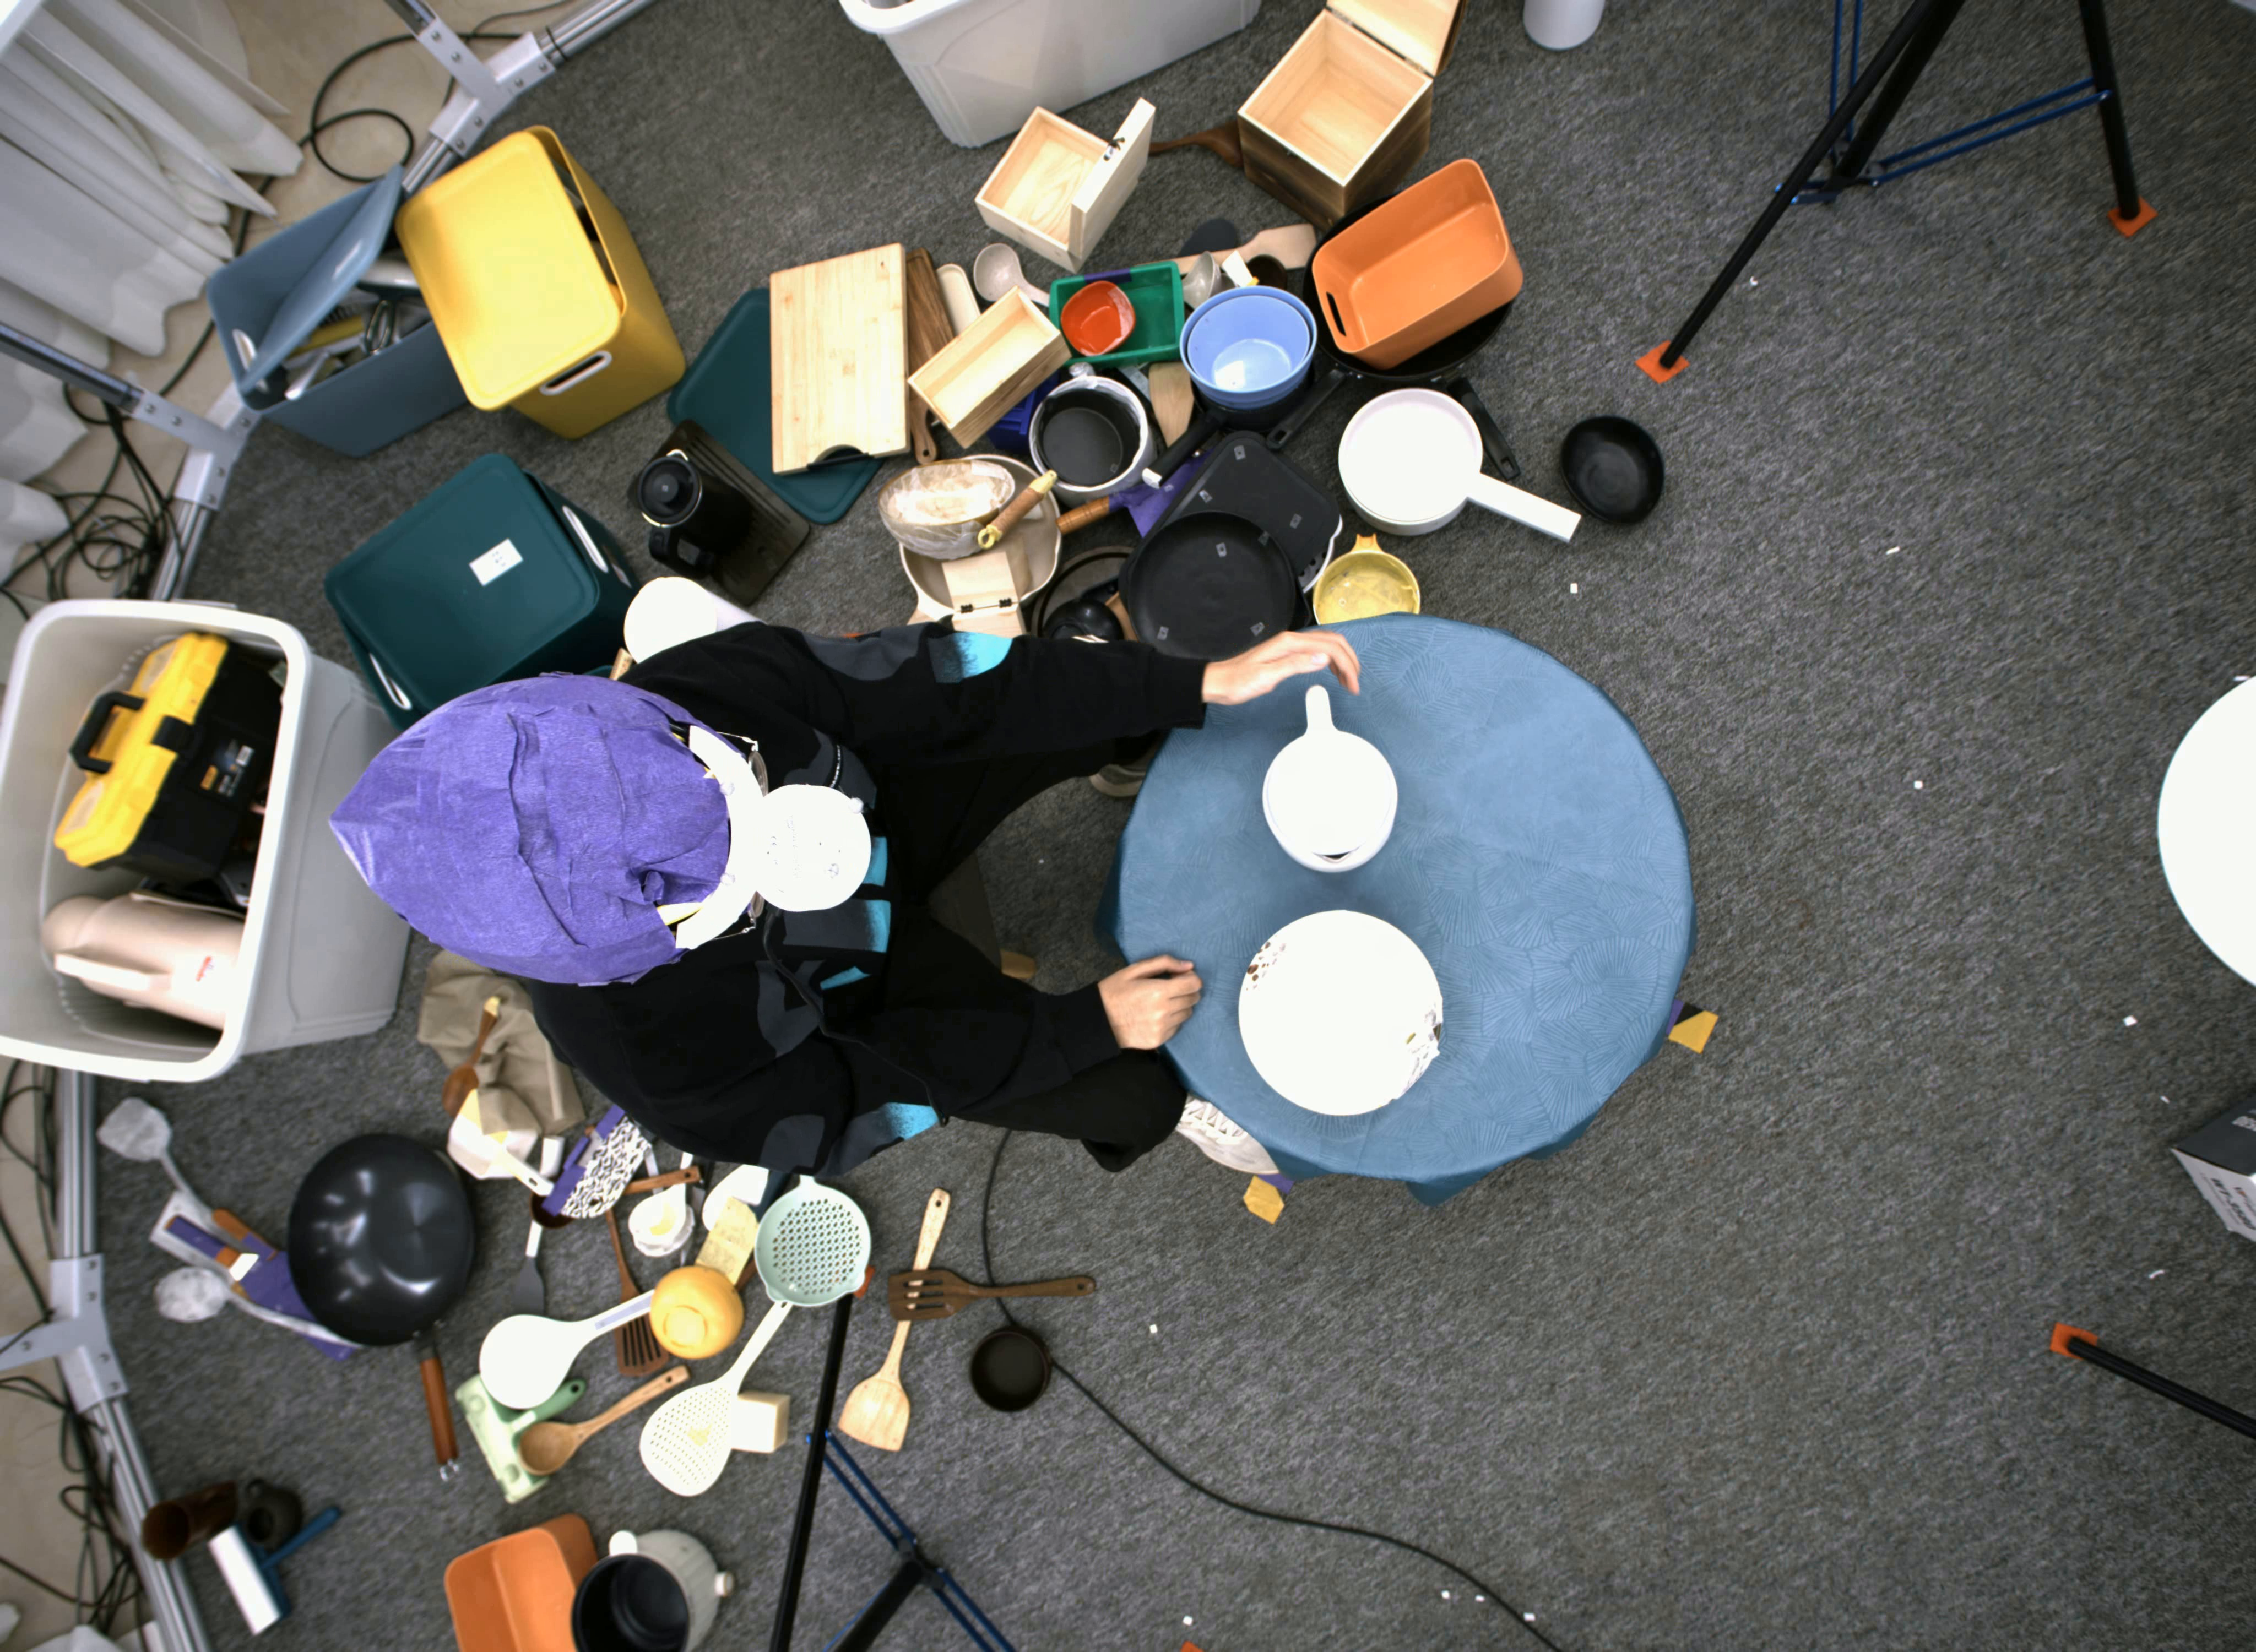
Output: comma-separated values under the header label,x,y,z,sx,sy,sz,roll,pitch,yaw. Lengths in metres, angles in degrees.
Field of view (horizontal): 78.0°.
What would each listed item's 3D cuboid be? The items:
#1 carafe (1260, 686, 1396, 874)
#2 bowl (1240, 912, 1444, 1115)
label,x,y,z,sx,sy,sz,roll,pitch,yaw
carafe,0.198,-0.048,1.388,0.133,0.183,0.189,-9,82,8
bowl,0.221,0.190,1.421,0.205,0.078,0.203,-1,86,13
